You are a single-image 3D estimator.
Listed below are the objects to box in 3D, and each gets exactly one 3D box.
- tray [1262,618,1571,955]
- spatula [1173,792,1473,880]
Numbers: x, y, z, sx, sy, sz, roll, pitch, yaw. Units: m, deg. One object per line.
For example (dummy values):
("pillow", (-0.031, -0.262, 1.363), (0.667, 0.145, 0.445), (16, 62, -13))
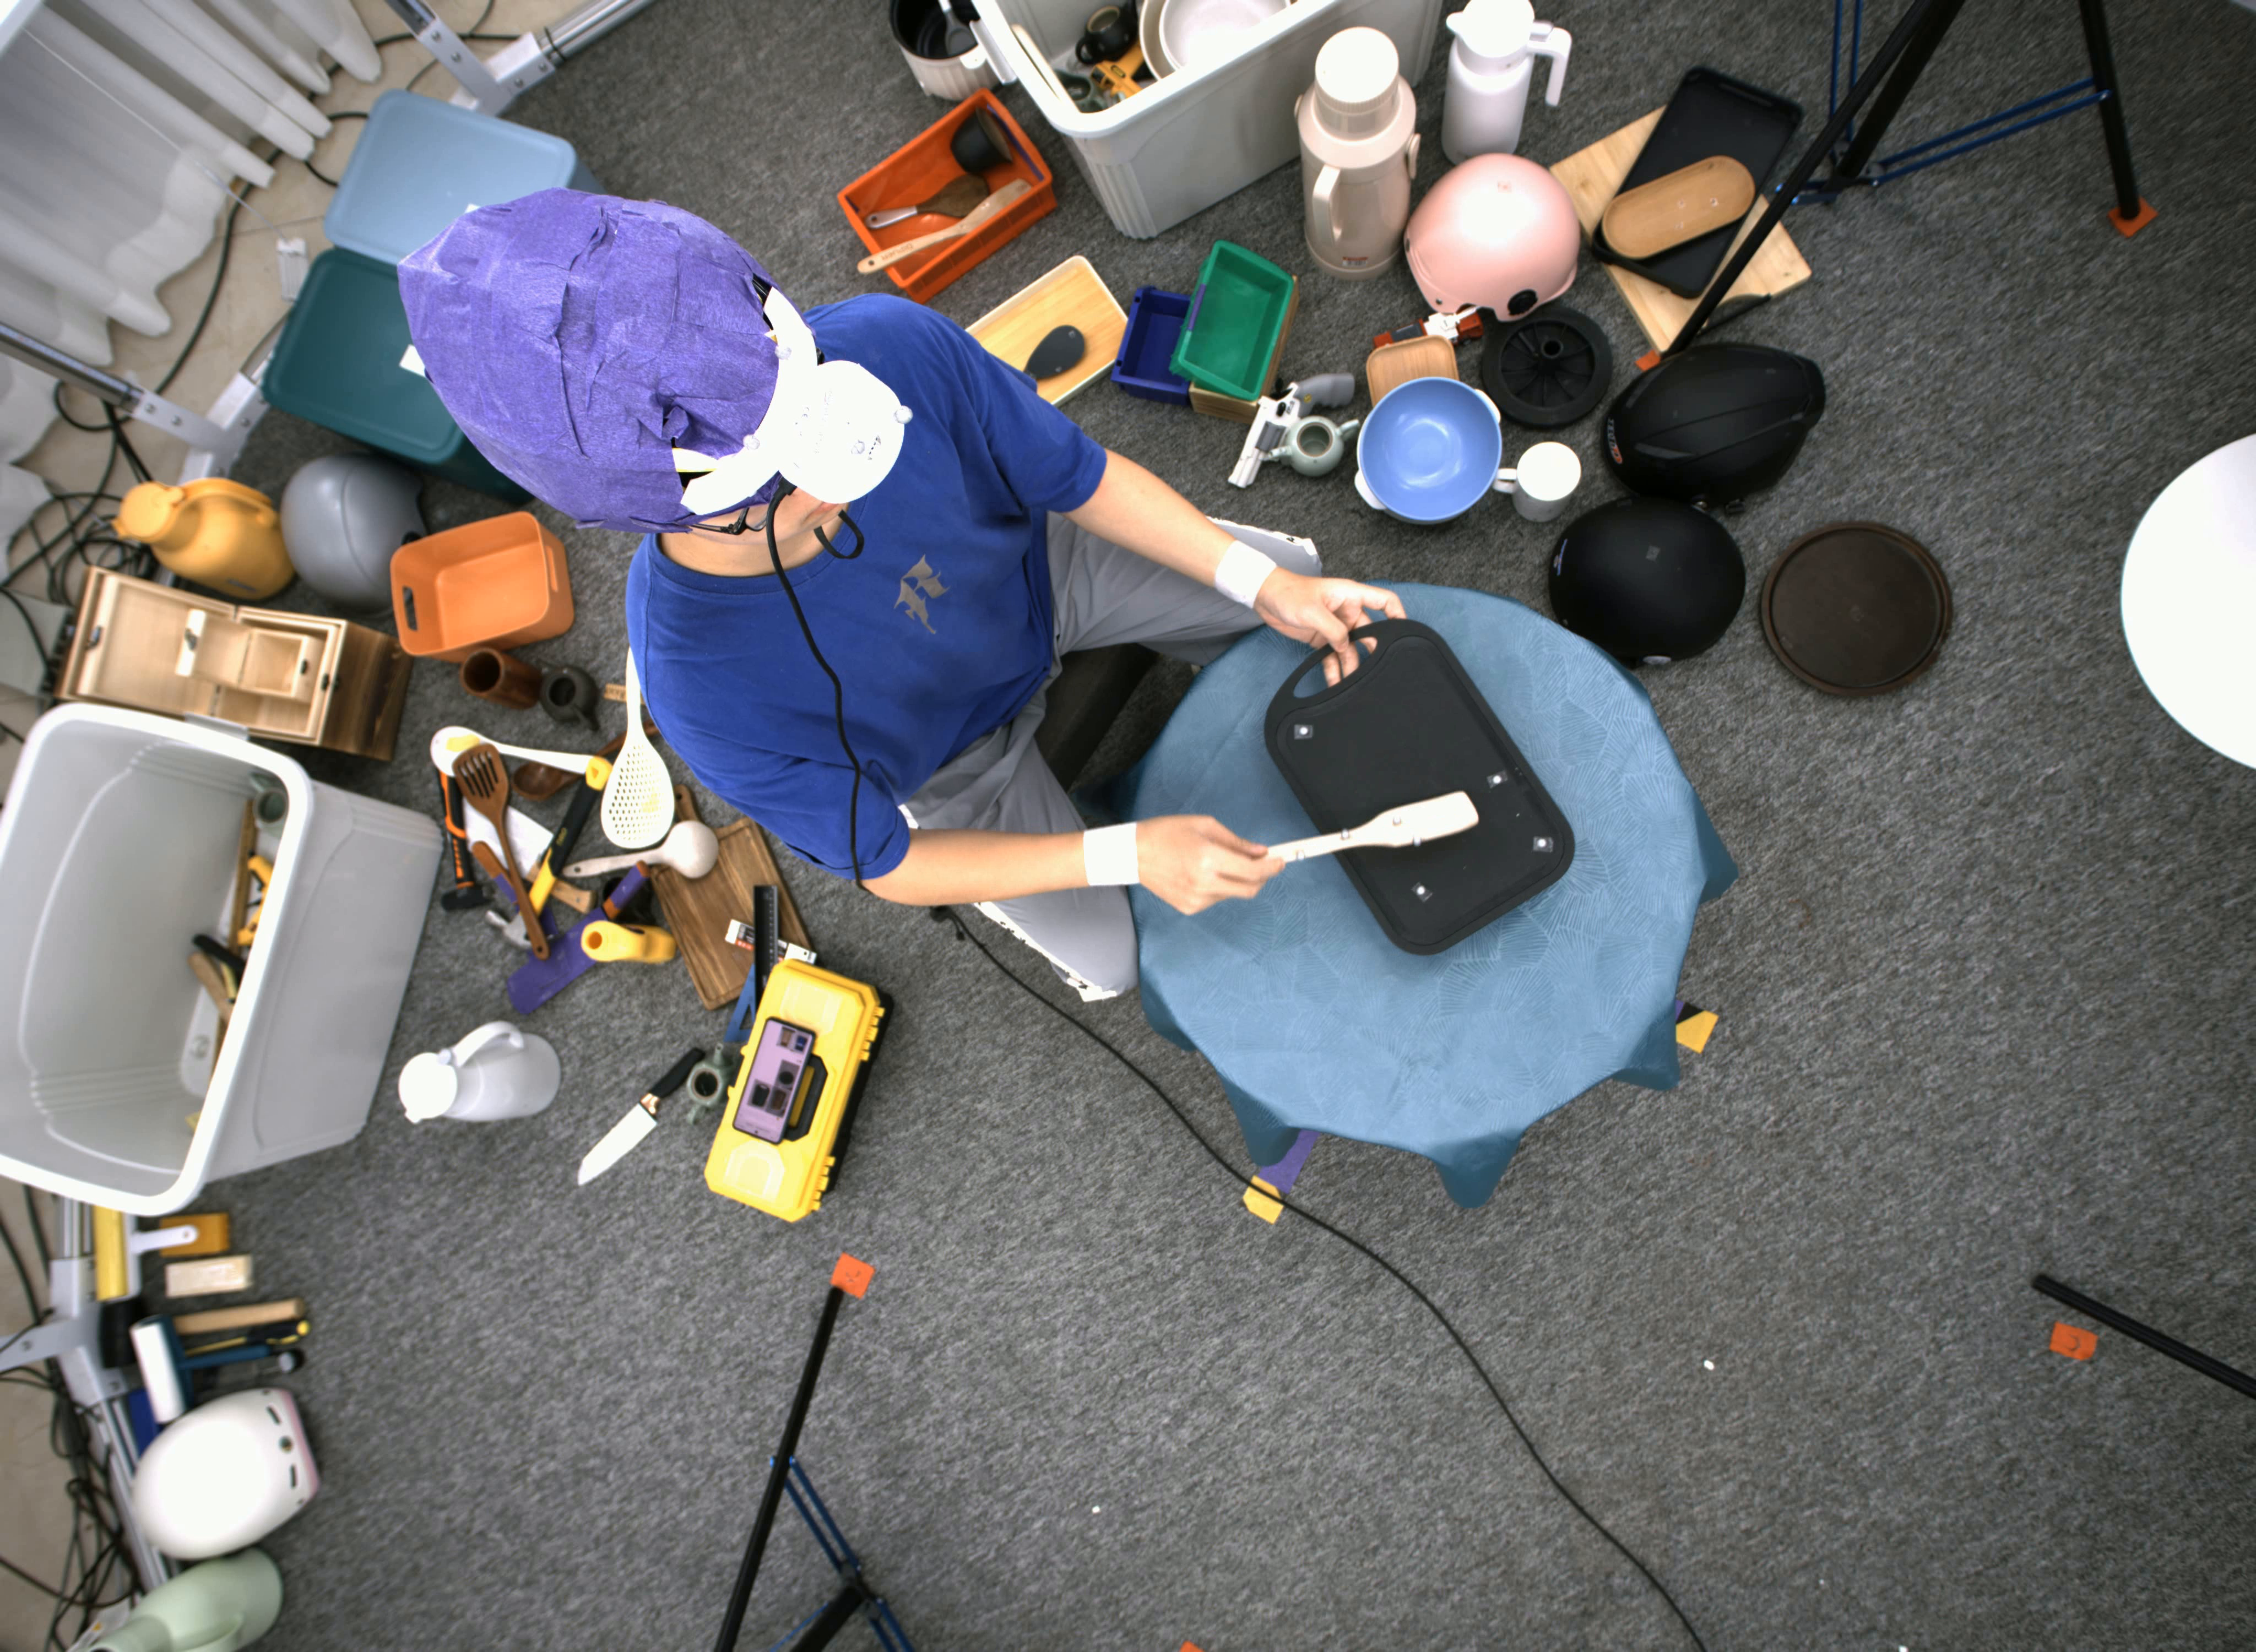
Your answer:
("tray", (0.278, -0.047, 1.372), (0.213, 0.010, 0.324), (-33, 83, 16))
("spatula", (0.186, 0.013, 1.342), (0.294, 0.071, 0.011), (-14, 112, 6))
